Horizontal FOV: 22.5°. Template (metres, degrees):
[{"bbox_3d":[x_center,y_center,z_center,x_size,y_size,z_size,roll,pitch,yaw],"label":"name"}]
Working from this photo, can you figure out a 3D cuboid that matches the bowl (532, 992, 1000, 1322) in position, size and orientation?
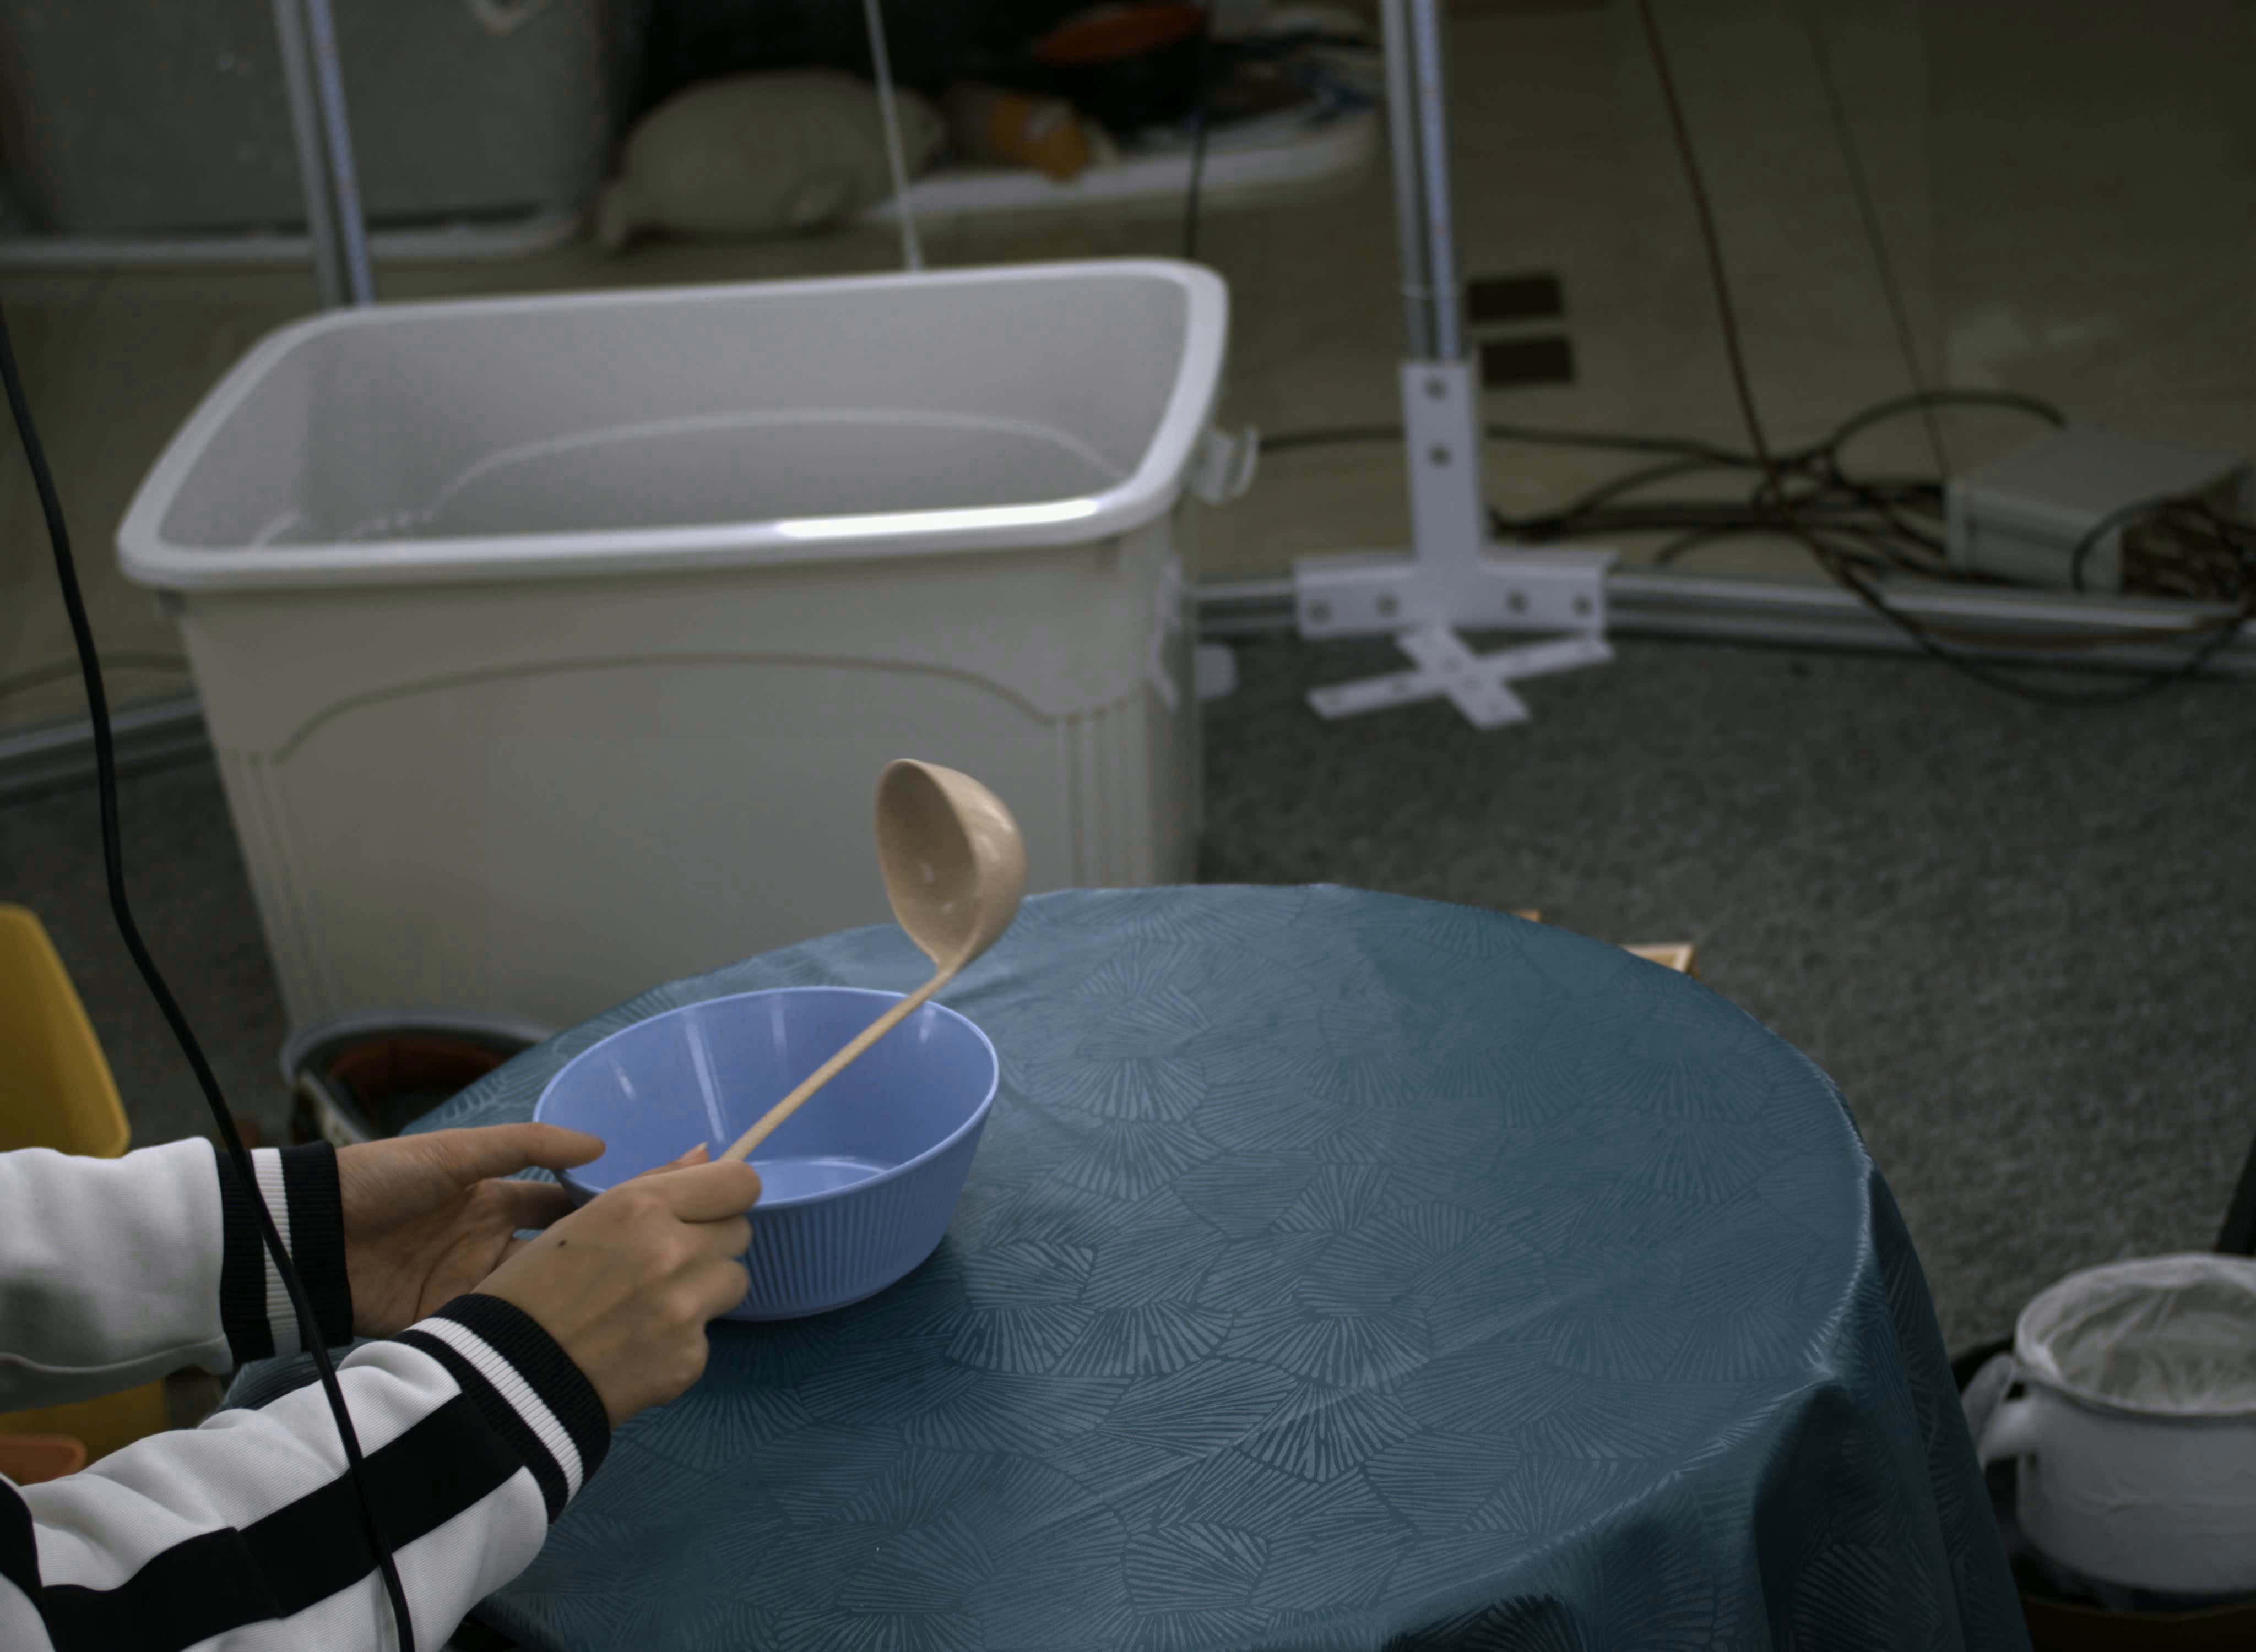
[{"bbox_3d":[-0.131,0.129,2.117,0.176,0.071,0.173,-6,24,3],"label":"bowl"}]

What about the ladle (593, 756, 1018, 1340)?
[{"bbox_3d":[-0.129,0.071,1.956,0.251,0.073,0.073,-46,1,-34],"label":"ladle"}]
